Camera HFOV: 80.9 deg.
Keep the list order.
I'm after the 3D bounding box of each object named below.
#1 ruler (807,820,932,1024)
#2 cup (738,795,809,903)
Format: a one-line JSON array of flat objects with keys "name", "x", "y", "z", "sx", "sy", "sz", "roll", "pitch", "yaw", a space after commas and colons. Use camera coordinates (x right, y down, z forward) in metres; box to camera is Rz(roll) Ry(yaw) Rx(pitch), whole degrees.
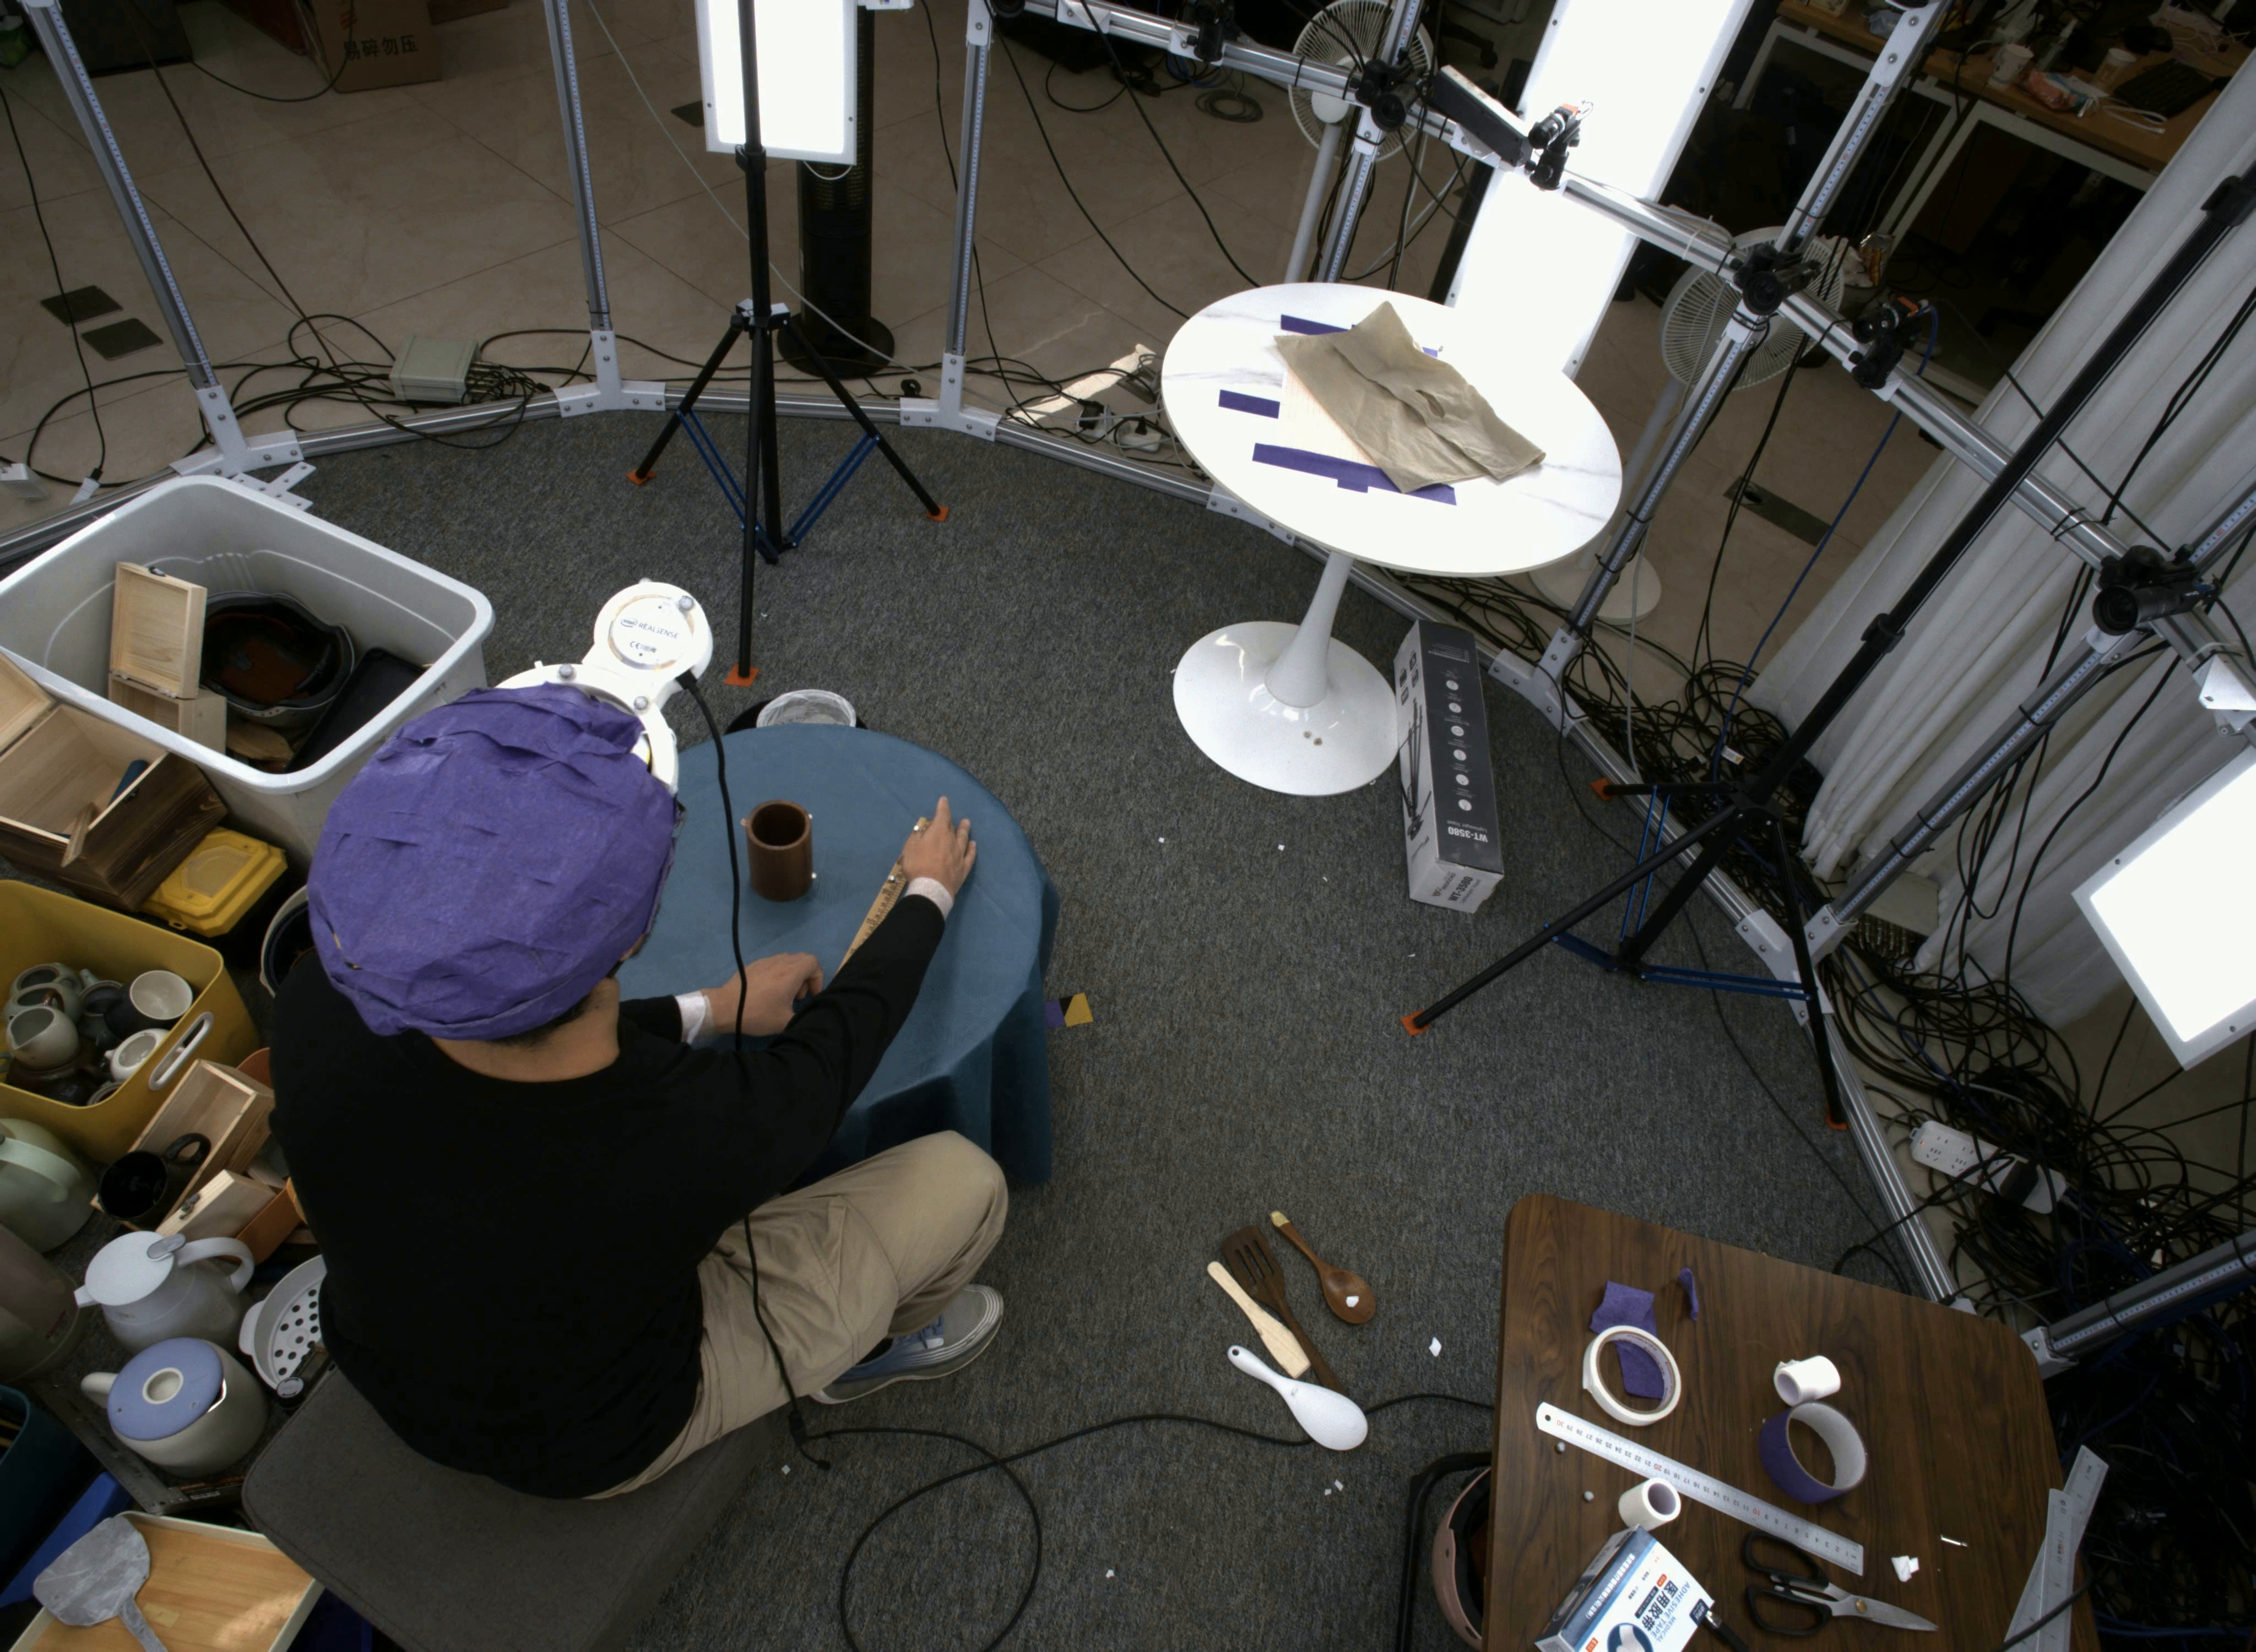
[{"name": "ruler", "x": -0.324, "y": 0.111, "z": 1.656, "sx": 0.027, "sy": 0.023, "sz": 0.328, "roll": 17, "pitch": 51, "yaw": 7}, {"name": "cup", "x": -0.440, "y": 0.028, "z": 1.618, "sx": 0.087, "sy": 0.121, "sz": 0.086, "roll": 6, "pitch": 51, "yaw": -6}]
